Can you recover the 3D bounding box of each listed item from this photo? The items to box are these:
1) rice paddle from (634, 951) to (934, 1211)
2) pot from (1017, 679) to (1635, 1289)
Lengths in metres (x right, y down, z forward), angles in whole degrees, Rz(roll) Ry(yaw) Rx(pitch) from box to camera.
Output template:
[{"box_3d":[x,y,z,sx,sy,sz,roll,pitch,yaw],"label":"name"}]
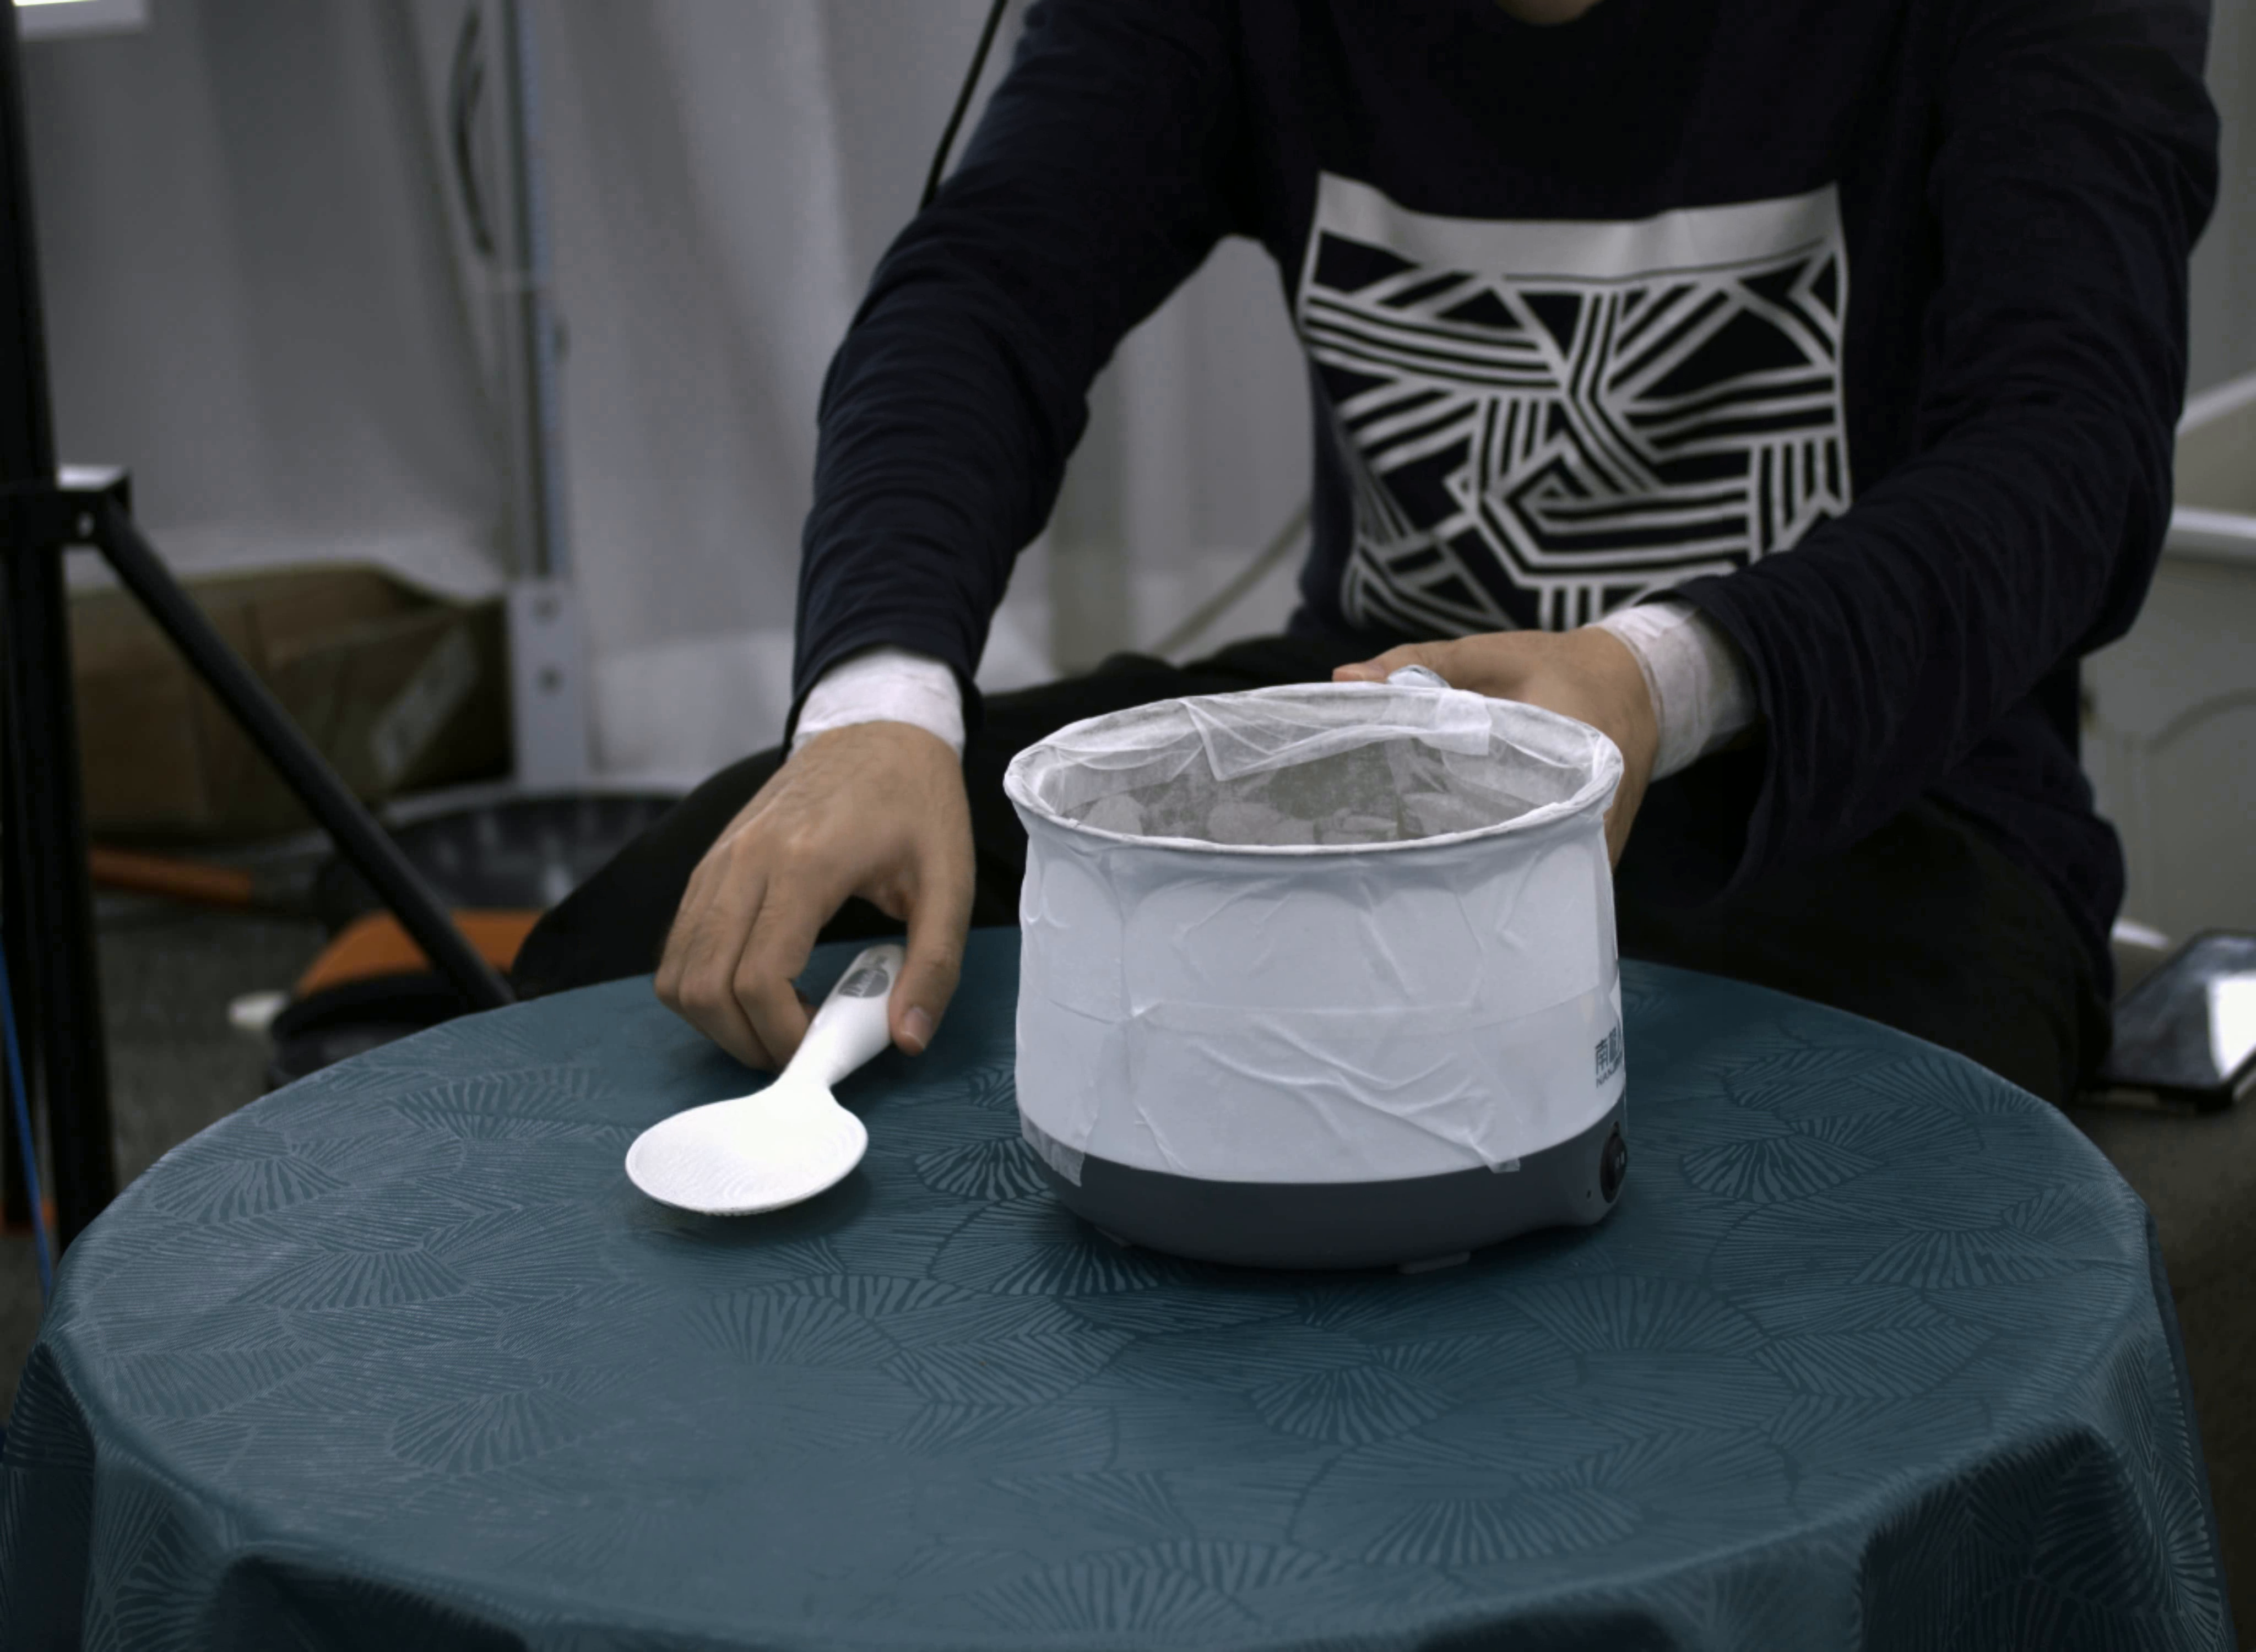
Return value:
[{"box_3d":[-0.098,0.080,1.624,0.069,0.029,0.204,1,15,13],"label":"rice paddle"},{"box_3d":[0.065,0.040,1.557,0.181,0.136,0.231,5,16,19],"label":"pot"}]
